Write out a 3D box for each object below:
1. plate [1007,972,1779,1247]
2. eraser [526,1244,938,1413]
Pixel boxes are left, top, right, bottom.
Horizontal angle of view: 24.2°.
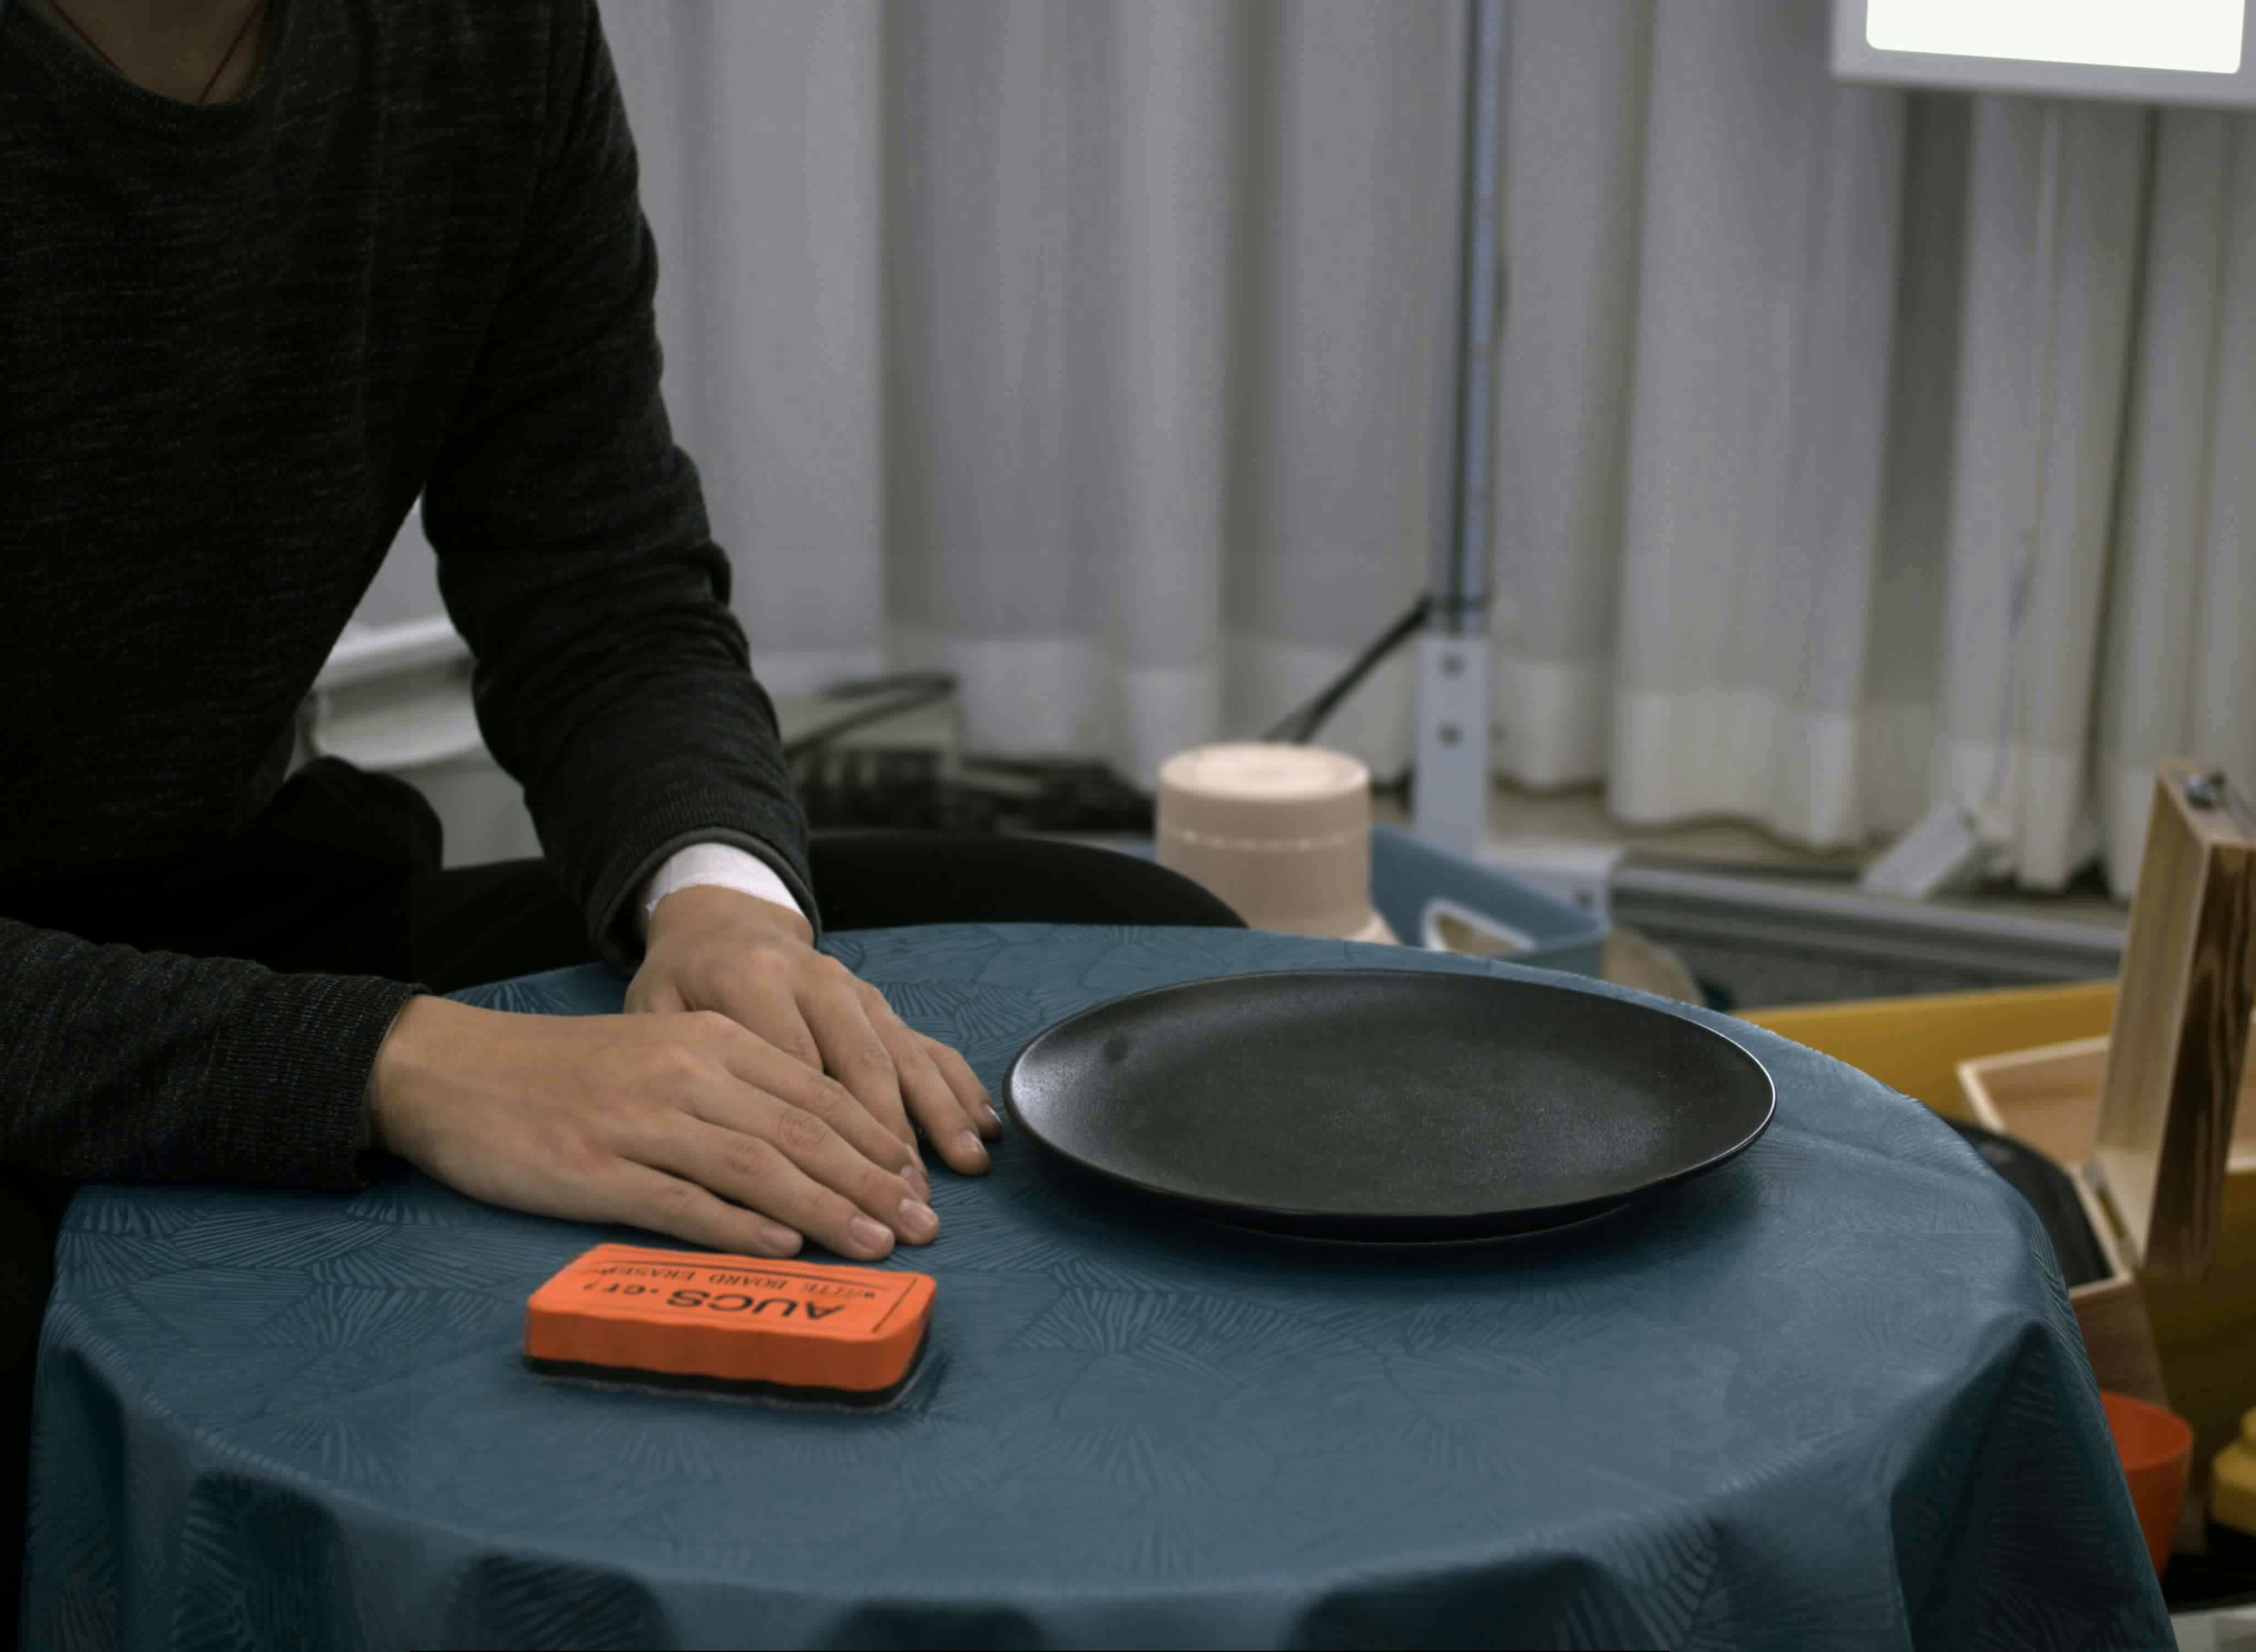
[{"bbox_3d":[0.083,0.091,1.658,0.243,0.023,0.243,0,16,0],"label":"plate"},{"bbox_3d":[-0.110,0.140,1.472,0.107,0.023,0.059,5,14,15],"label":"eraser"}]
